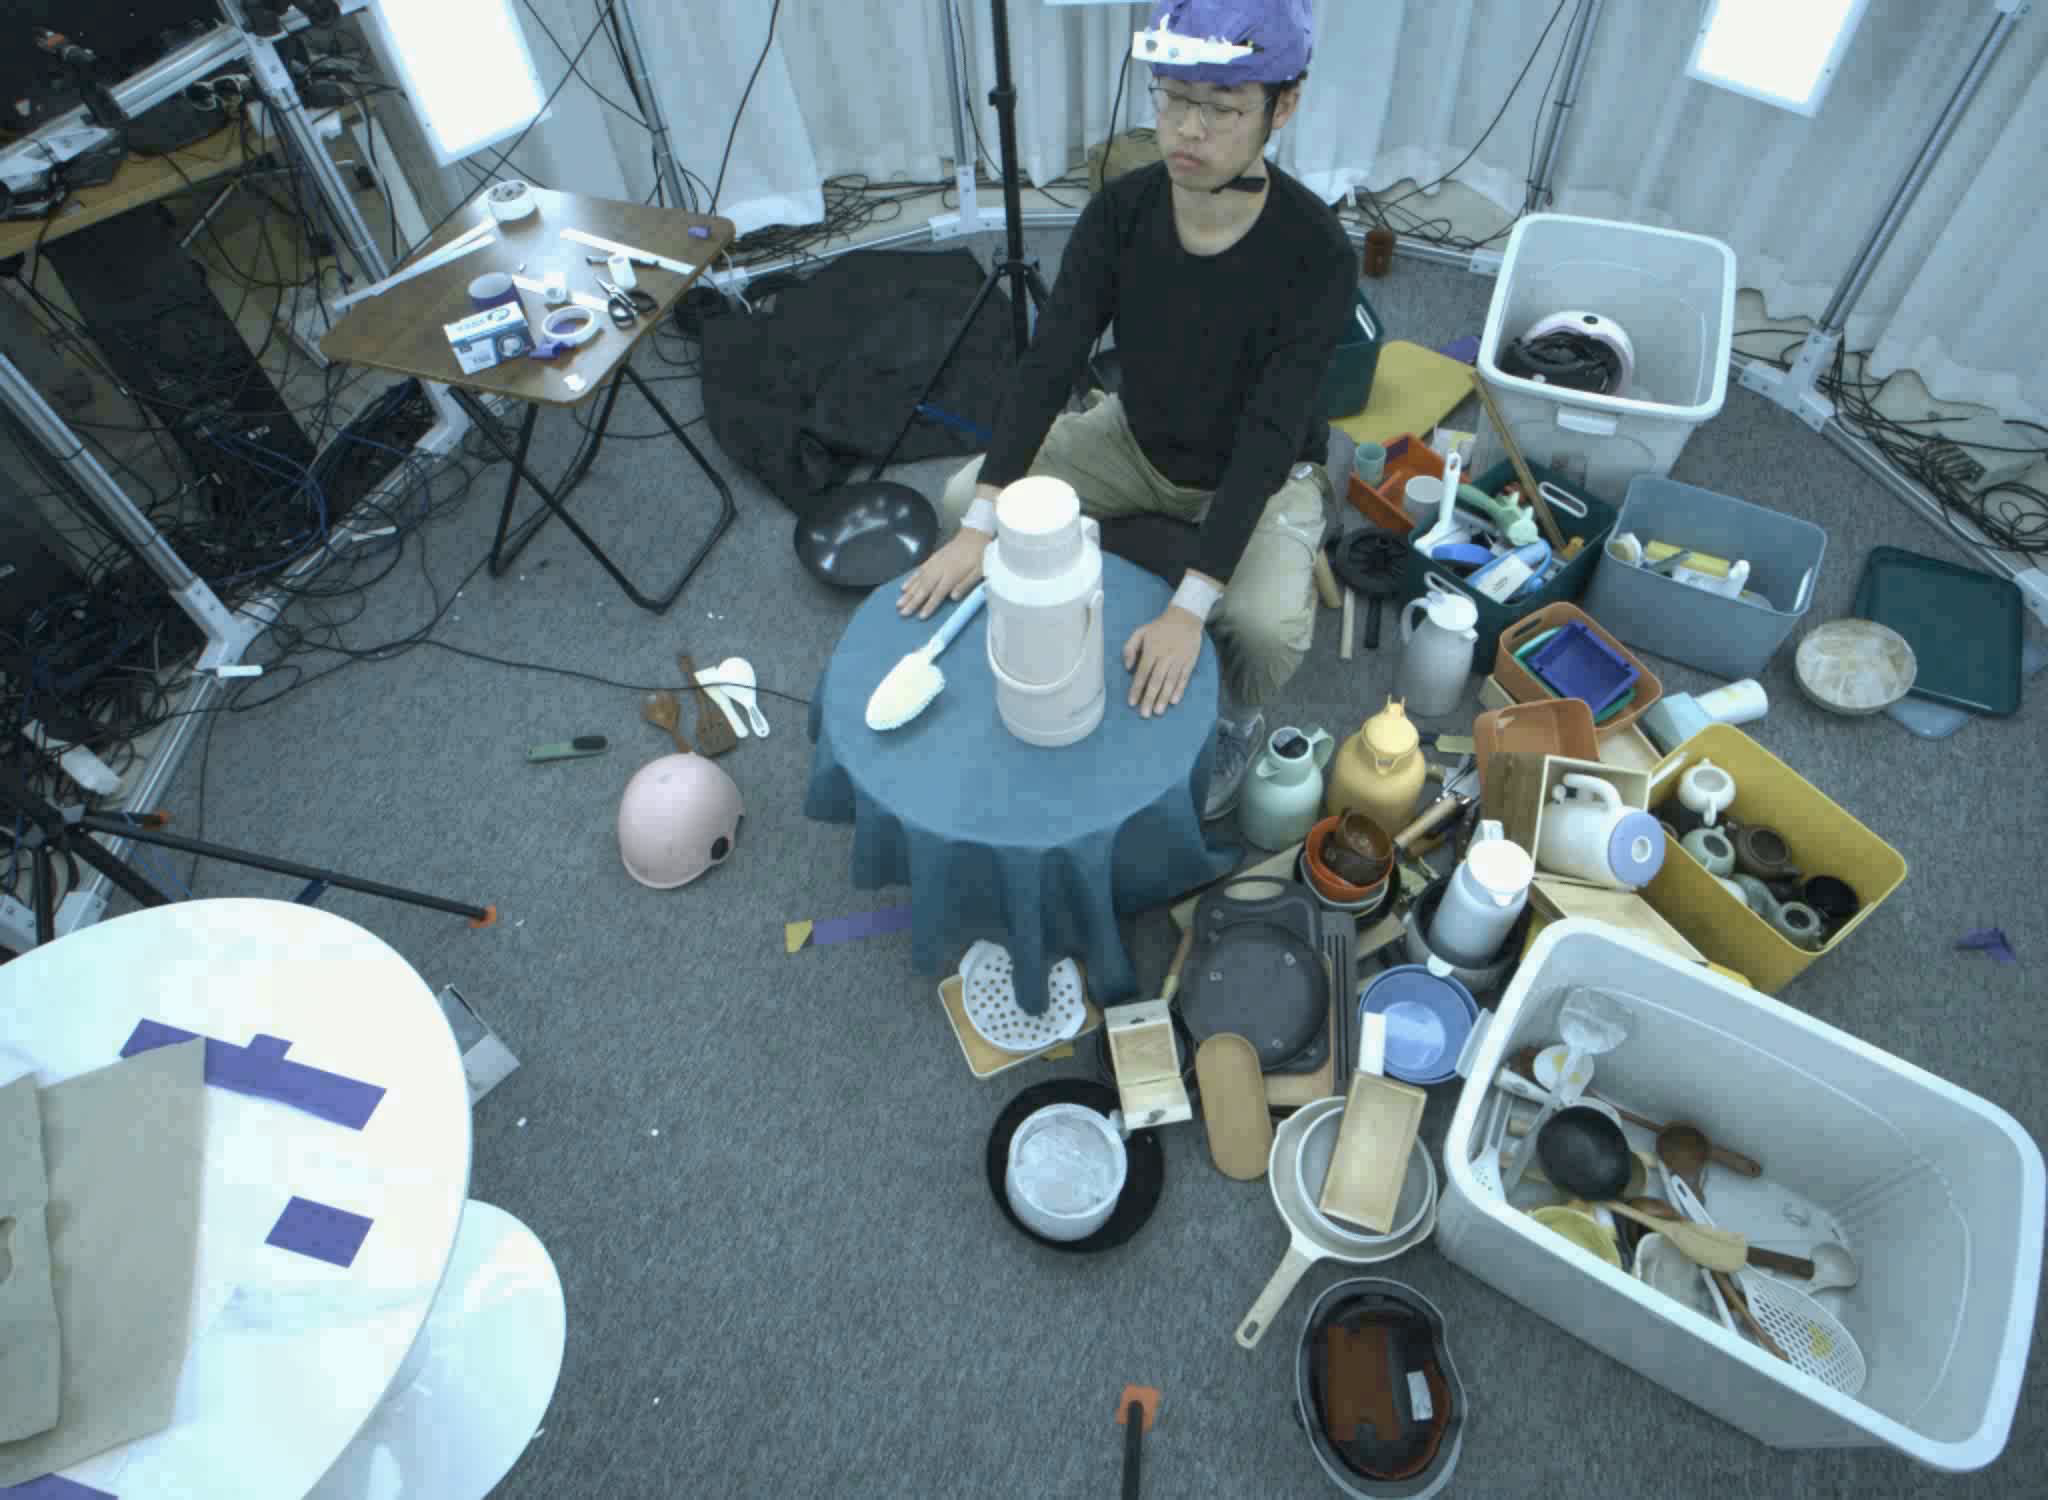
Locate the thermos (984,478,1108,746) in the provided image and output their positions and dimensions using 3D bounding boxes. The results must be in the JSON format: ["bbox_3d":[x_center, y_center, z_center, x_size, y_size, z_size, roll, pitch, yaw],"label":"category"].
[{"bbox_3d":[0.041,-0.193,1.678,0.172,0.411,0.208,26,61,23],"label":"thermos"}]

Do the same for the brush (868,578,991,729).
[{"bbox_3d":[-0.125,-0.157,1.853,0.083,0.084,0.326,23,60,24],"label":"brush"}]
